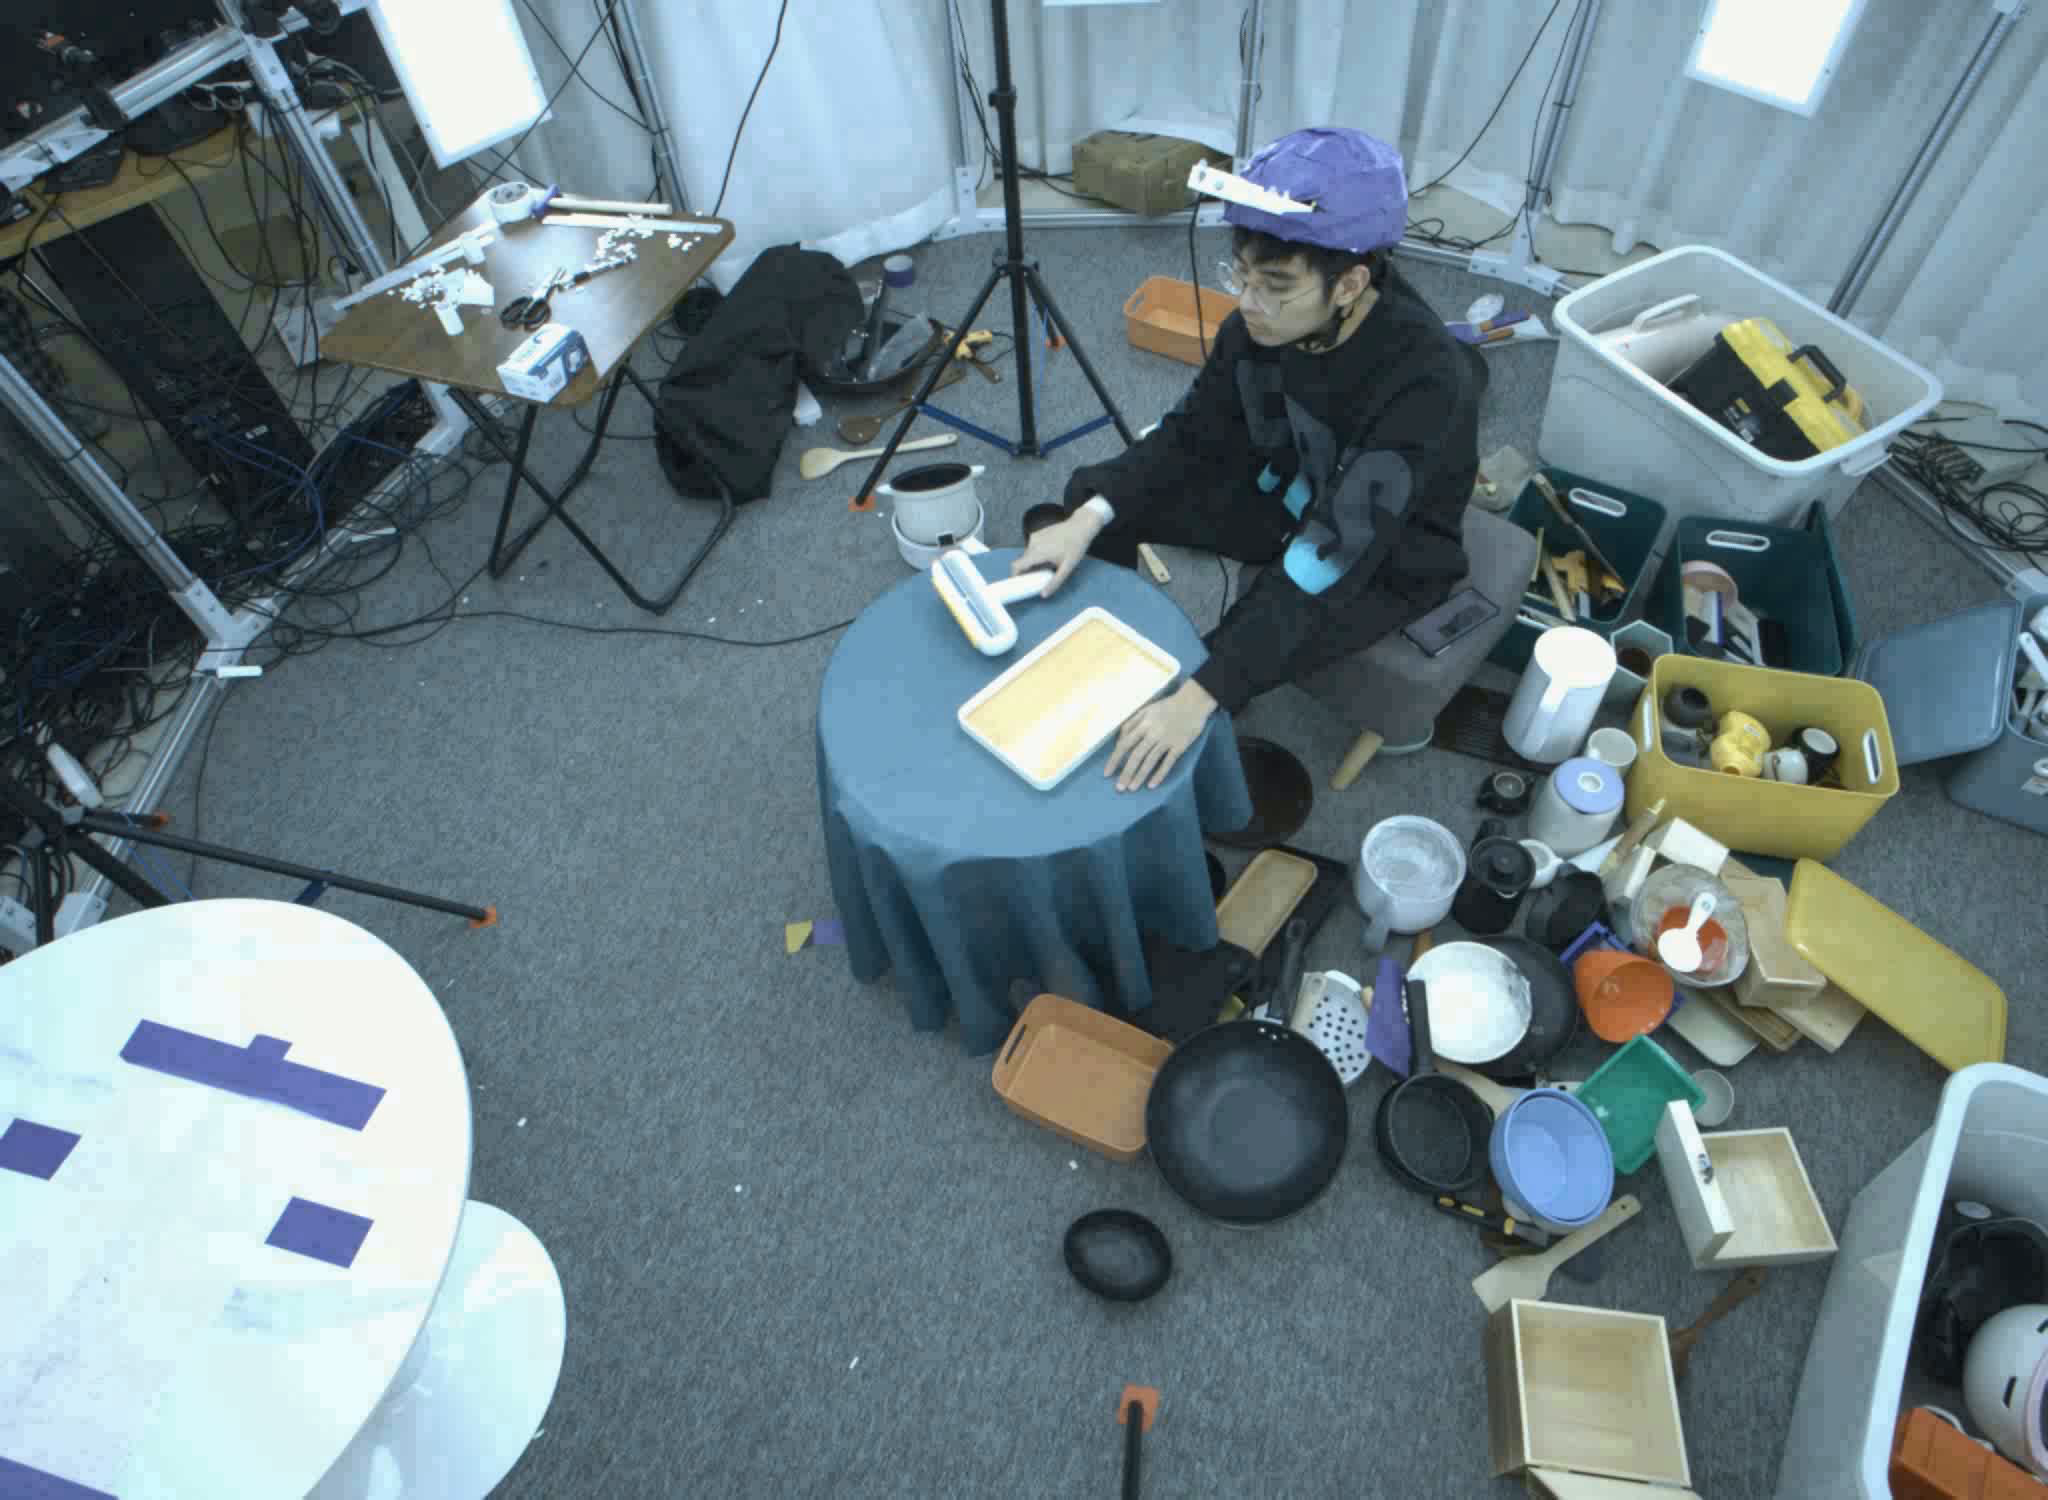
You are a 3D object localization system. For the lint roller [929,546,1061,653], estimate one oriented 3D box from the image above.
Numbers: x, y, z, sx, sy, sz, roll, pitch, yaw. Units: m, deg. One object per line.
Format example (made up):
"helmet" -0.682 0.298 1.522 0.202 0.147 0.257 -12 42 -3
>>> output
"lint roller" -0.031 -0.252 1.921 0.194 0.075 0.189 -23 62 -16

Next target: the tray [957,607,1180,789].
"tray" 0.067 -0.083 1.823 0.302 0.028 0.188 -39 61 -23
